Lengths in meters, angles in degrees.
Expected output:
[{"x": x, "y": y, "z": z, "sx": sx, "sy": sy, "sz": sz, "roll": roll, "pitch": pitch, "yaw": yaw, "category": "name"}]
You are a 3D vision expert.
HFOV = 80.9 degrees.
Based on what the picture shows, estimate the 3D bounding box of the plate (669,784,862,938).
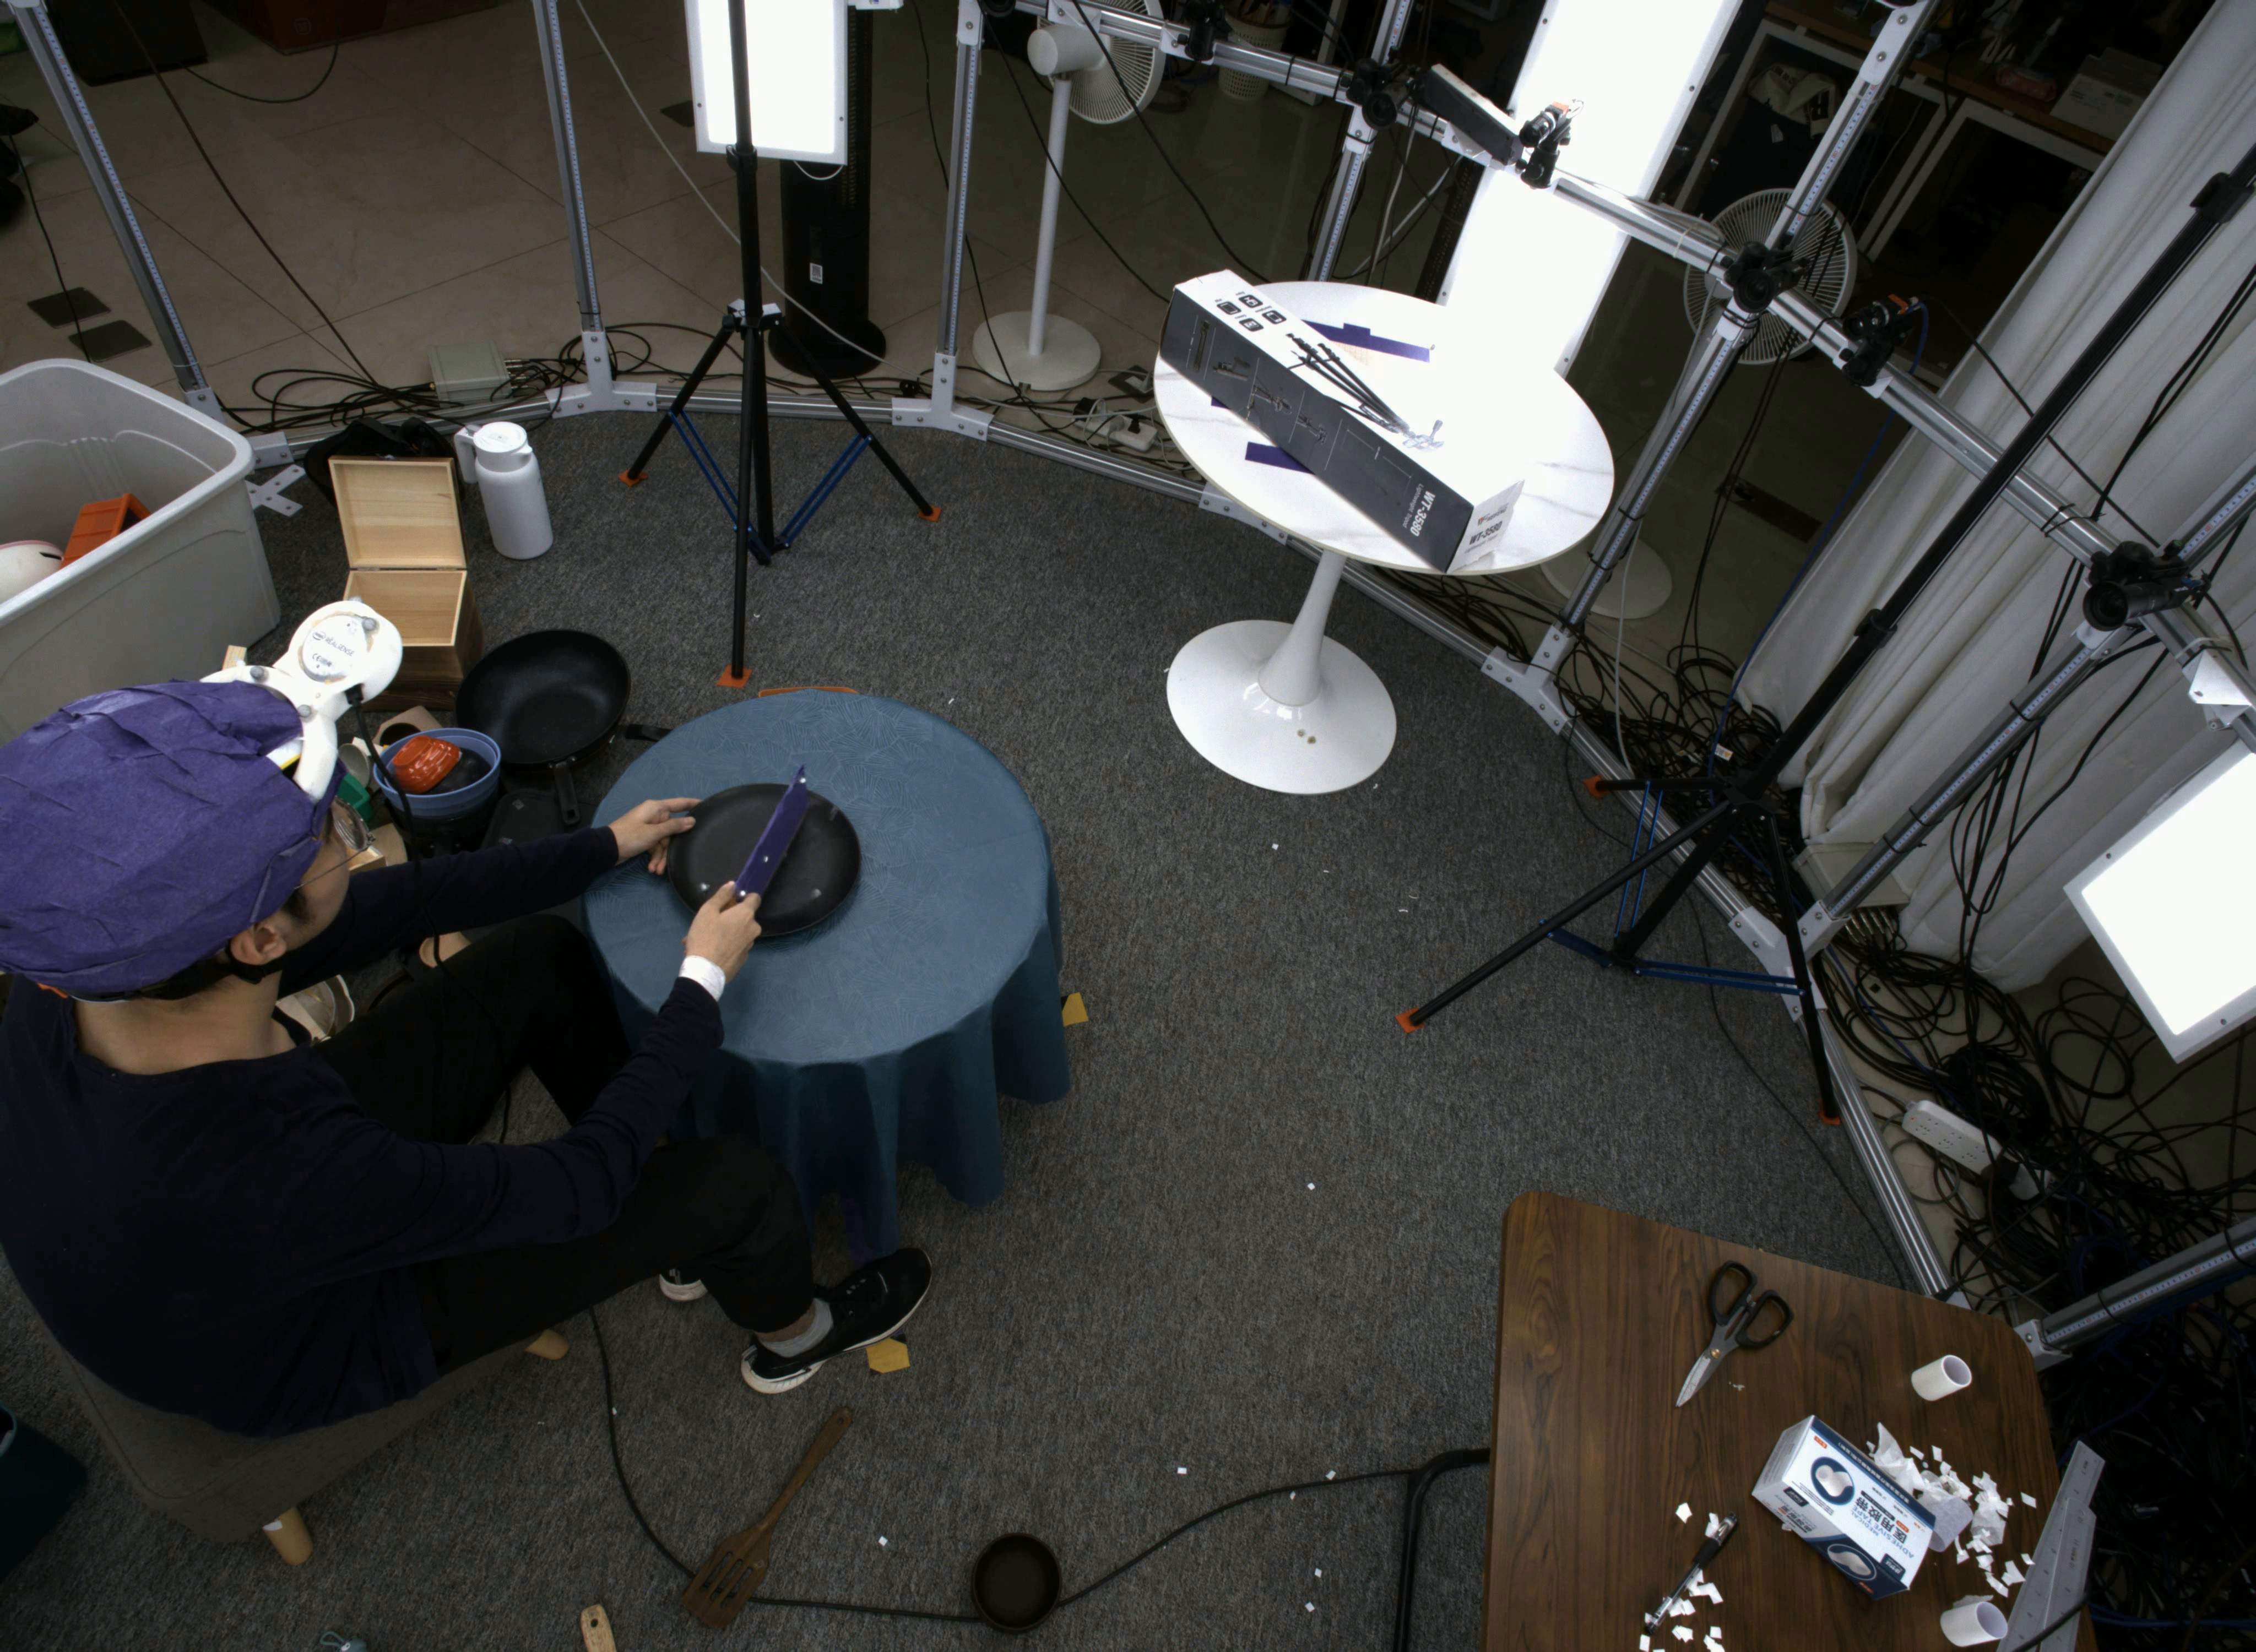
[{"x": -0.467, "y": 0.046, "z": 1.674, "sx": 0.244, "sy": 0.024, "sz": 0.240, "roll": 8, "pitch": 53, "yaw": -9, "category": "plate"}]

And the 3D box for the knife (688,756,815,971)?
[{"x": -0.455, "y": 0.058, "z": 1.601, "sx": 0.032, "sy": 0.106, "sz": 0.312, "roll": 16, "pitch": 54, "yaw": 6, "category": "knife"}]
